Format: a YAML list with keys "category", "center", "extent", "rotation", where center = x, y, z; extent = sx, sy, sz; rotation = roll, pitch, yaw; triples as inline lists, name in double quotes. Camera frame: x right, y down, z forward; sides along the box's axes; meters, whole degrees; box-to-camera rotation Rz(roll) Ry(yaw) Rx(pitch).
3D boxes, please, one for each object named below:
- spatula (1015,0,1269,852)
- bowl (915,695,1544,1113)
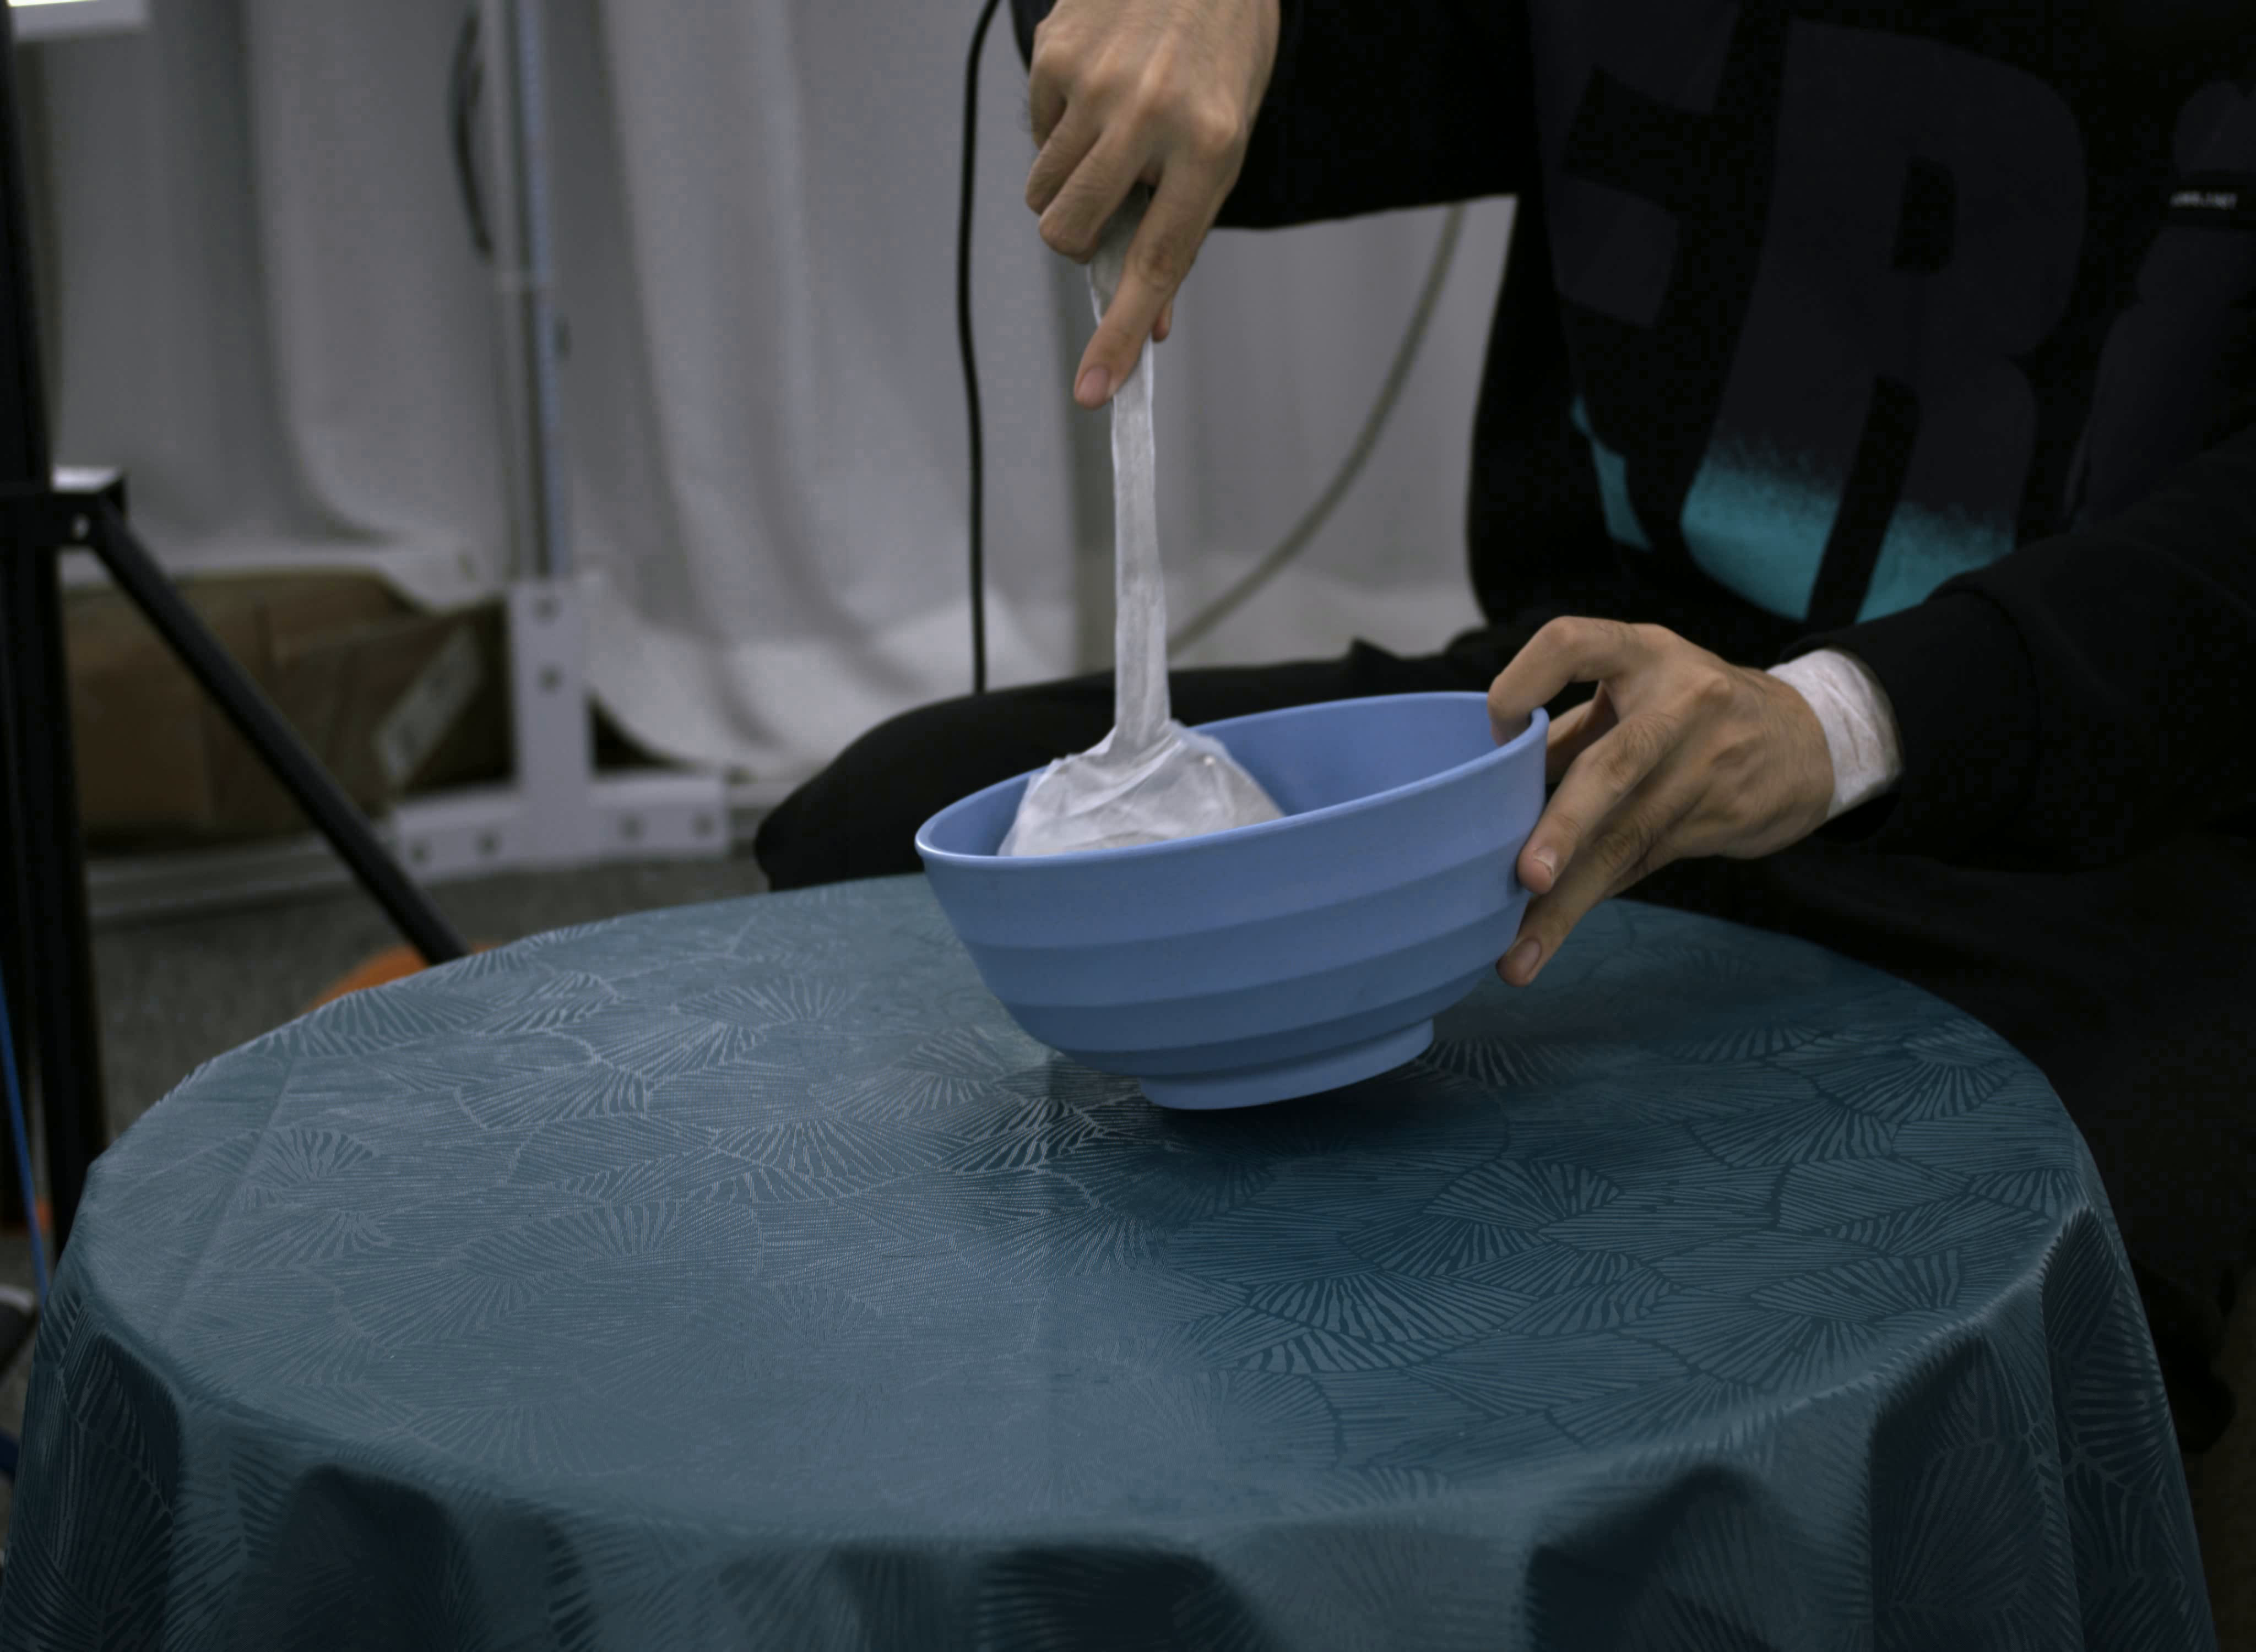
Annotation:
- category: "spatula"
  center: [0.006, -0.111, 1.702]
  extent: [0.098, 0.368, 0.045]
  rotation: [0, -17, -5]
- category: "bowl"
  center: [0.040, 0.029, 1.626]
  extent: [0.196, 0.095, 0.197]
  rotation: [-13, 9, 0]
